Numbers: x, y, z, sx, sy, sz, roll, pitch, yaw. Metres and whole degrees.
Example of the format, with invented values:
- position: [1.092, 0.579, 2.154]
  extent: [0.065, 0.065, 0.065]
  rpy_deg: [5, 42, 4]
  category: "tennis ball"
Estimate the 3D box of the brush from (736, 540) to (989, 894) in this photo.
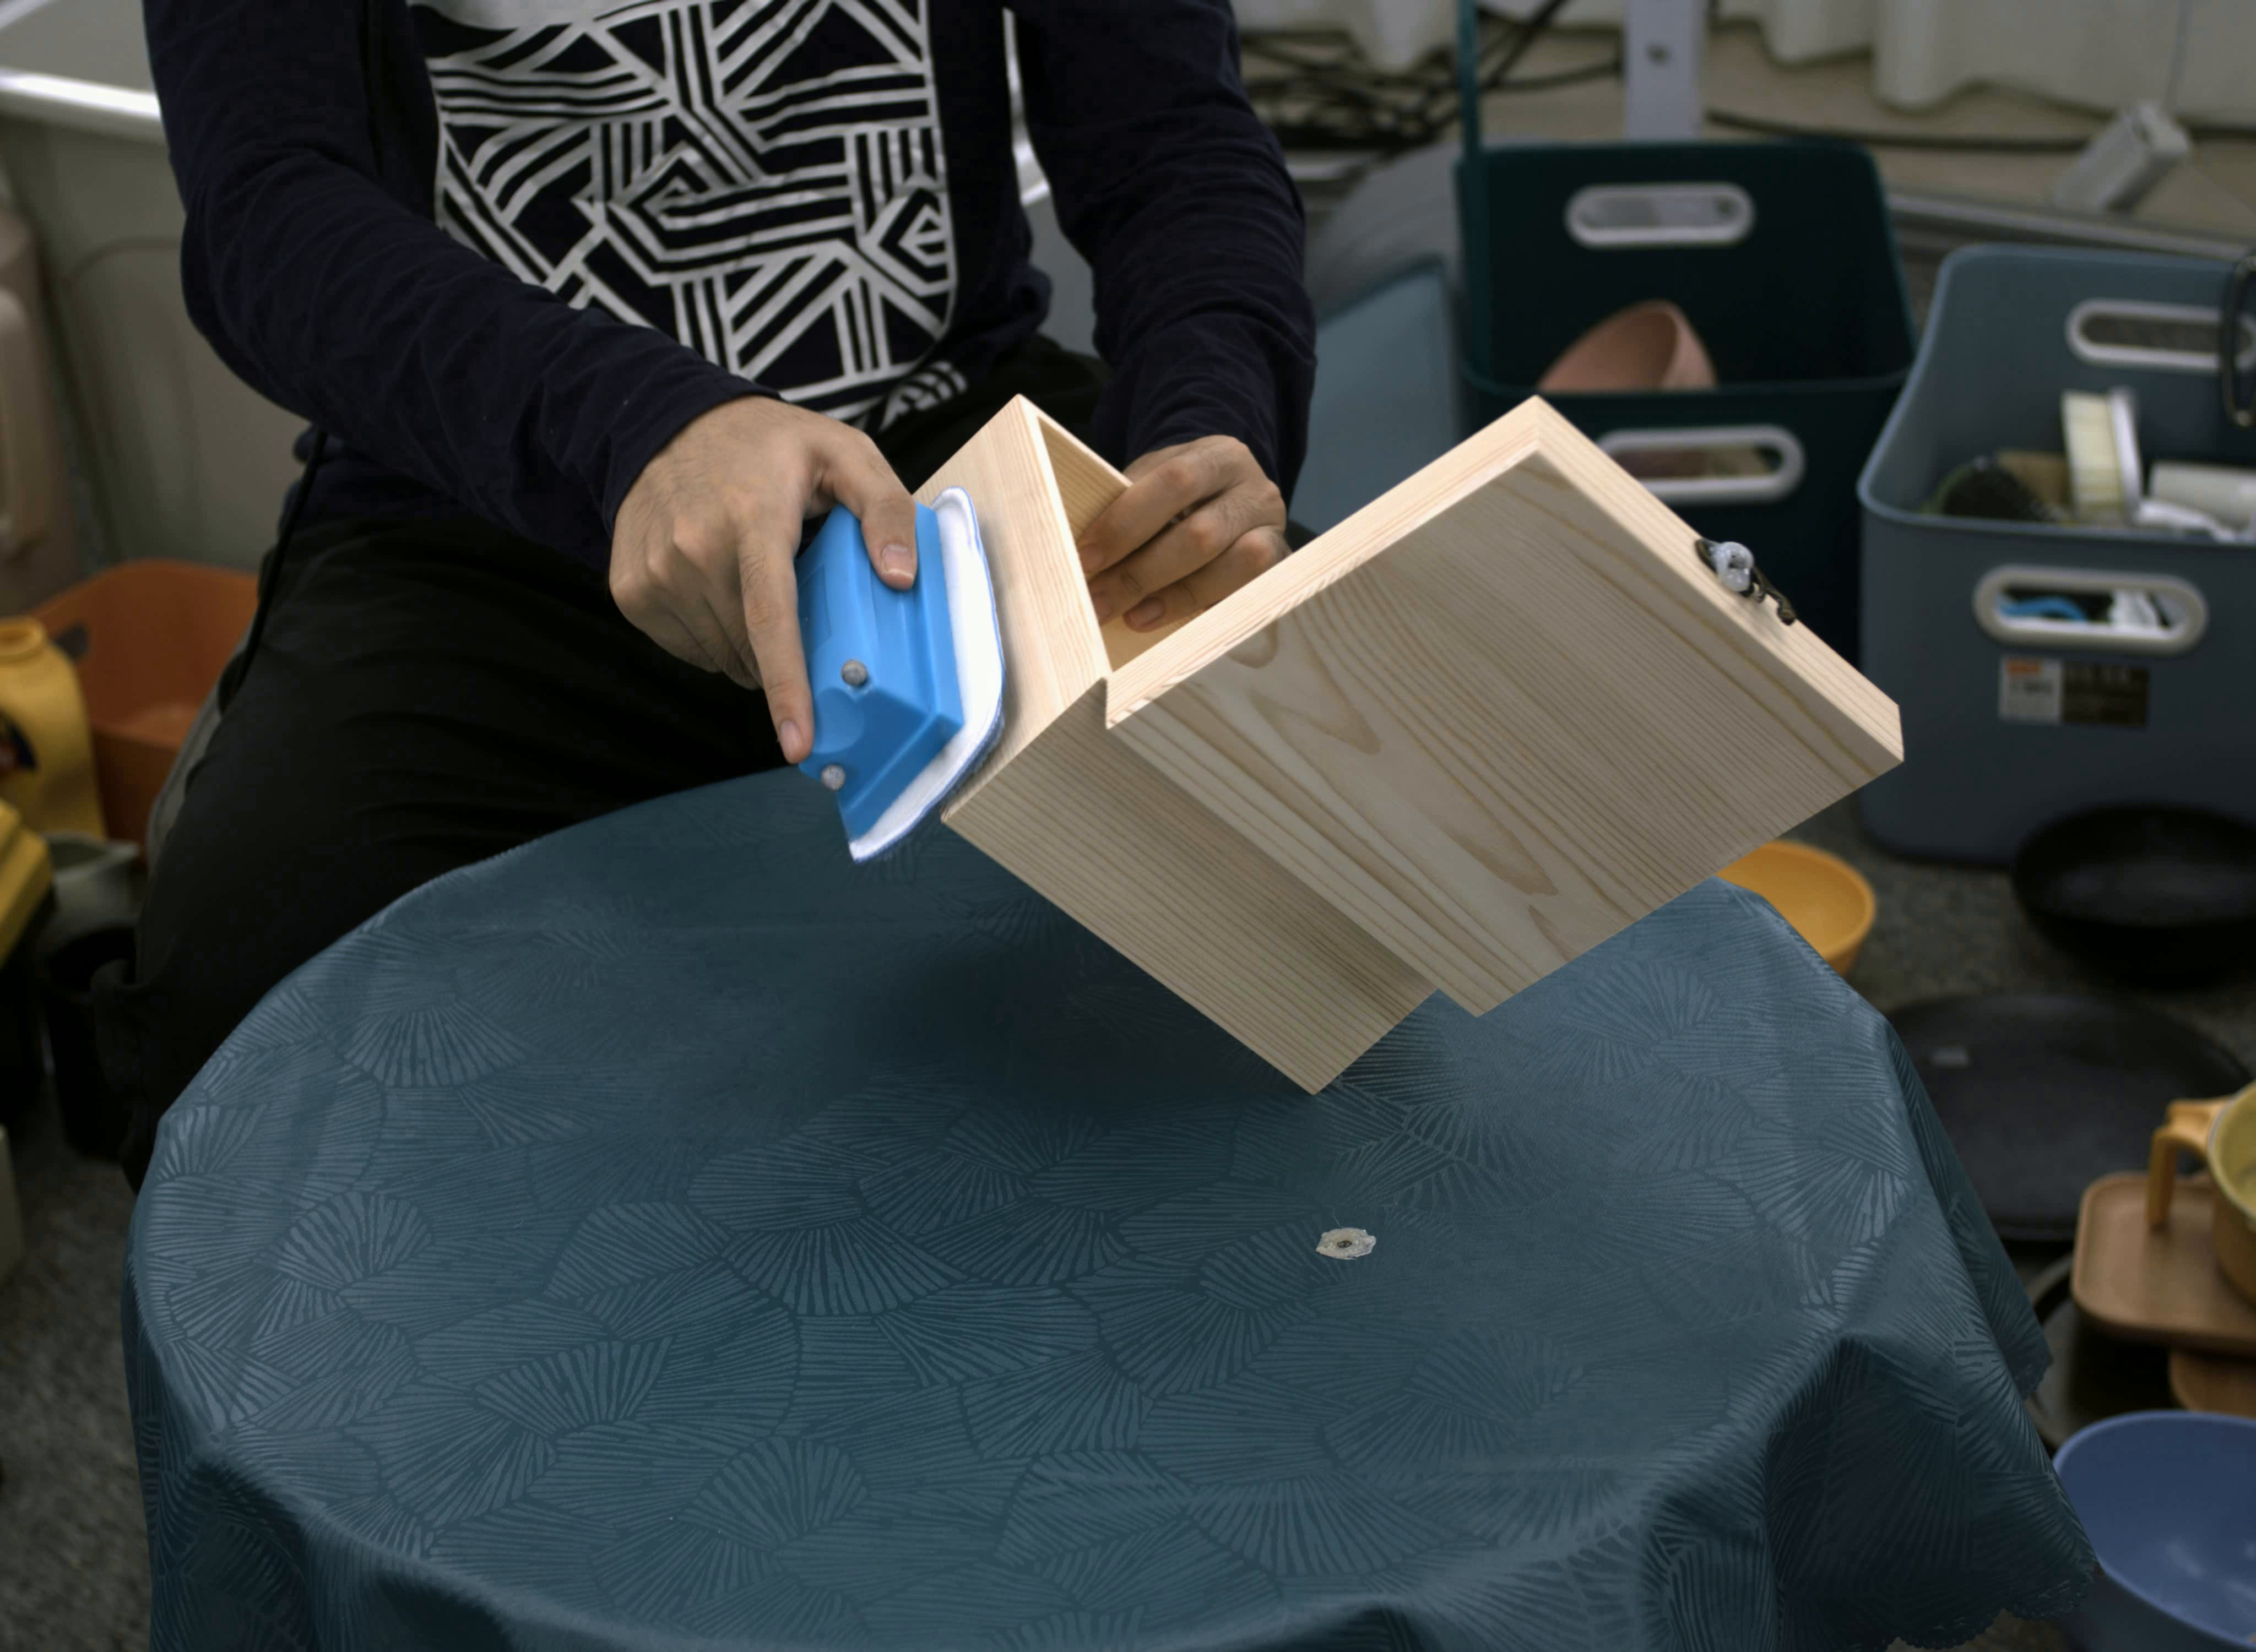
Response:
- position: [-0.097, -0.043, 1.877]
  extent: [0.083, 0.055, 0.146]
  rpy_deg: [-42, 34, 13]
  category: "brush"

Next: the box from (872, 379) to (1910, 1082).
- position: [0.080, -0.071, 1.877]
  extent: [0.251, 0.181, 0.269]
  rpy_deg: [-44, 32, 17]
  category: "box"
